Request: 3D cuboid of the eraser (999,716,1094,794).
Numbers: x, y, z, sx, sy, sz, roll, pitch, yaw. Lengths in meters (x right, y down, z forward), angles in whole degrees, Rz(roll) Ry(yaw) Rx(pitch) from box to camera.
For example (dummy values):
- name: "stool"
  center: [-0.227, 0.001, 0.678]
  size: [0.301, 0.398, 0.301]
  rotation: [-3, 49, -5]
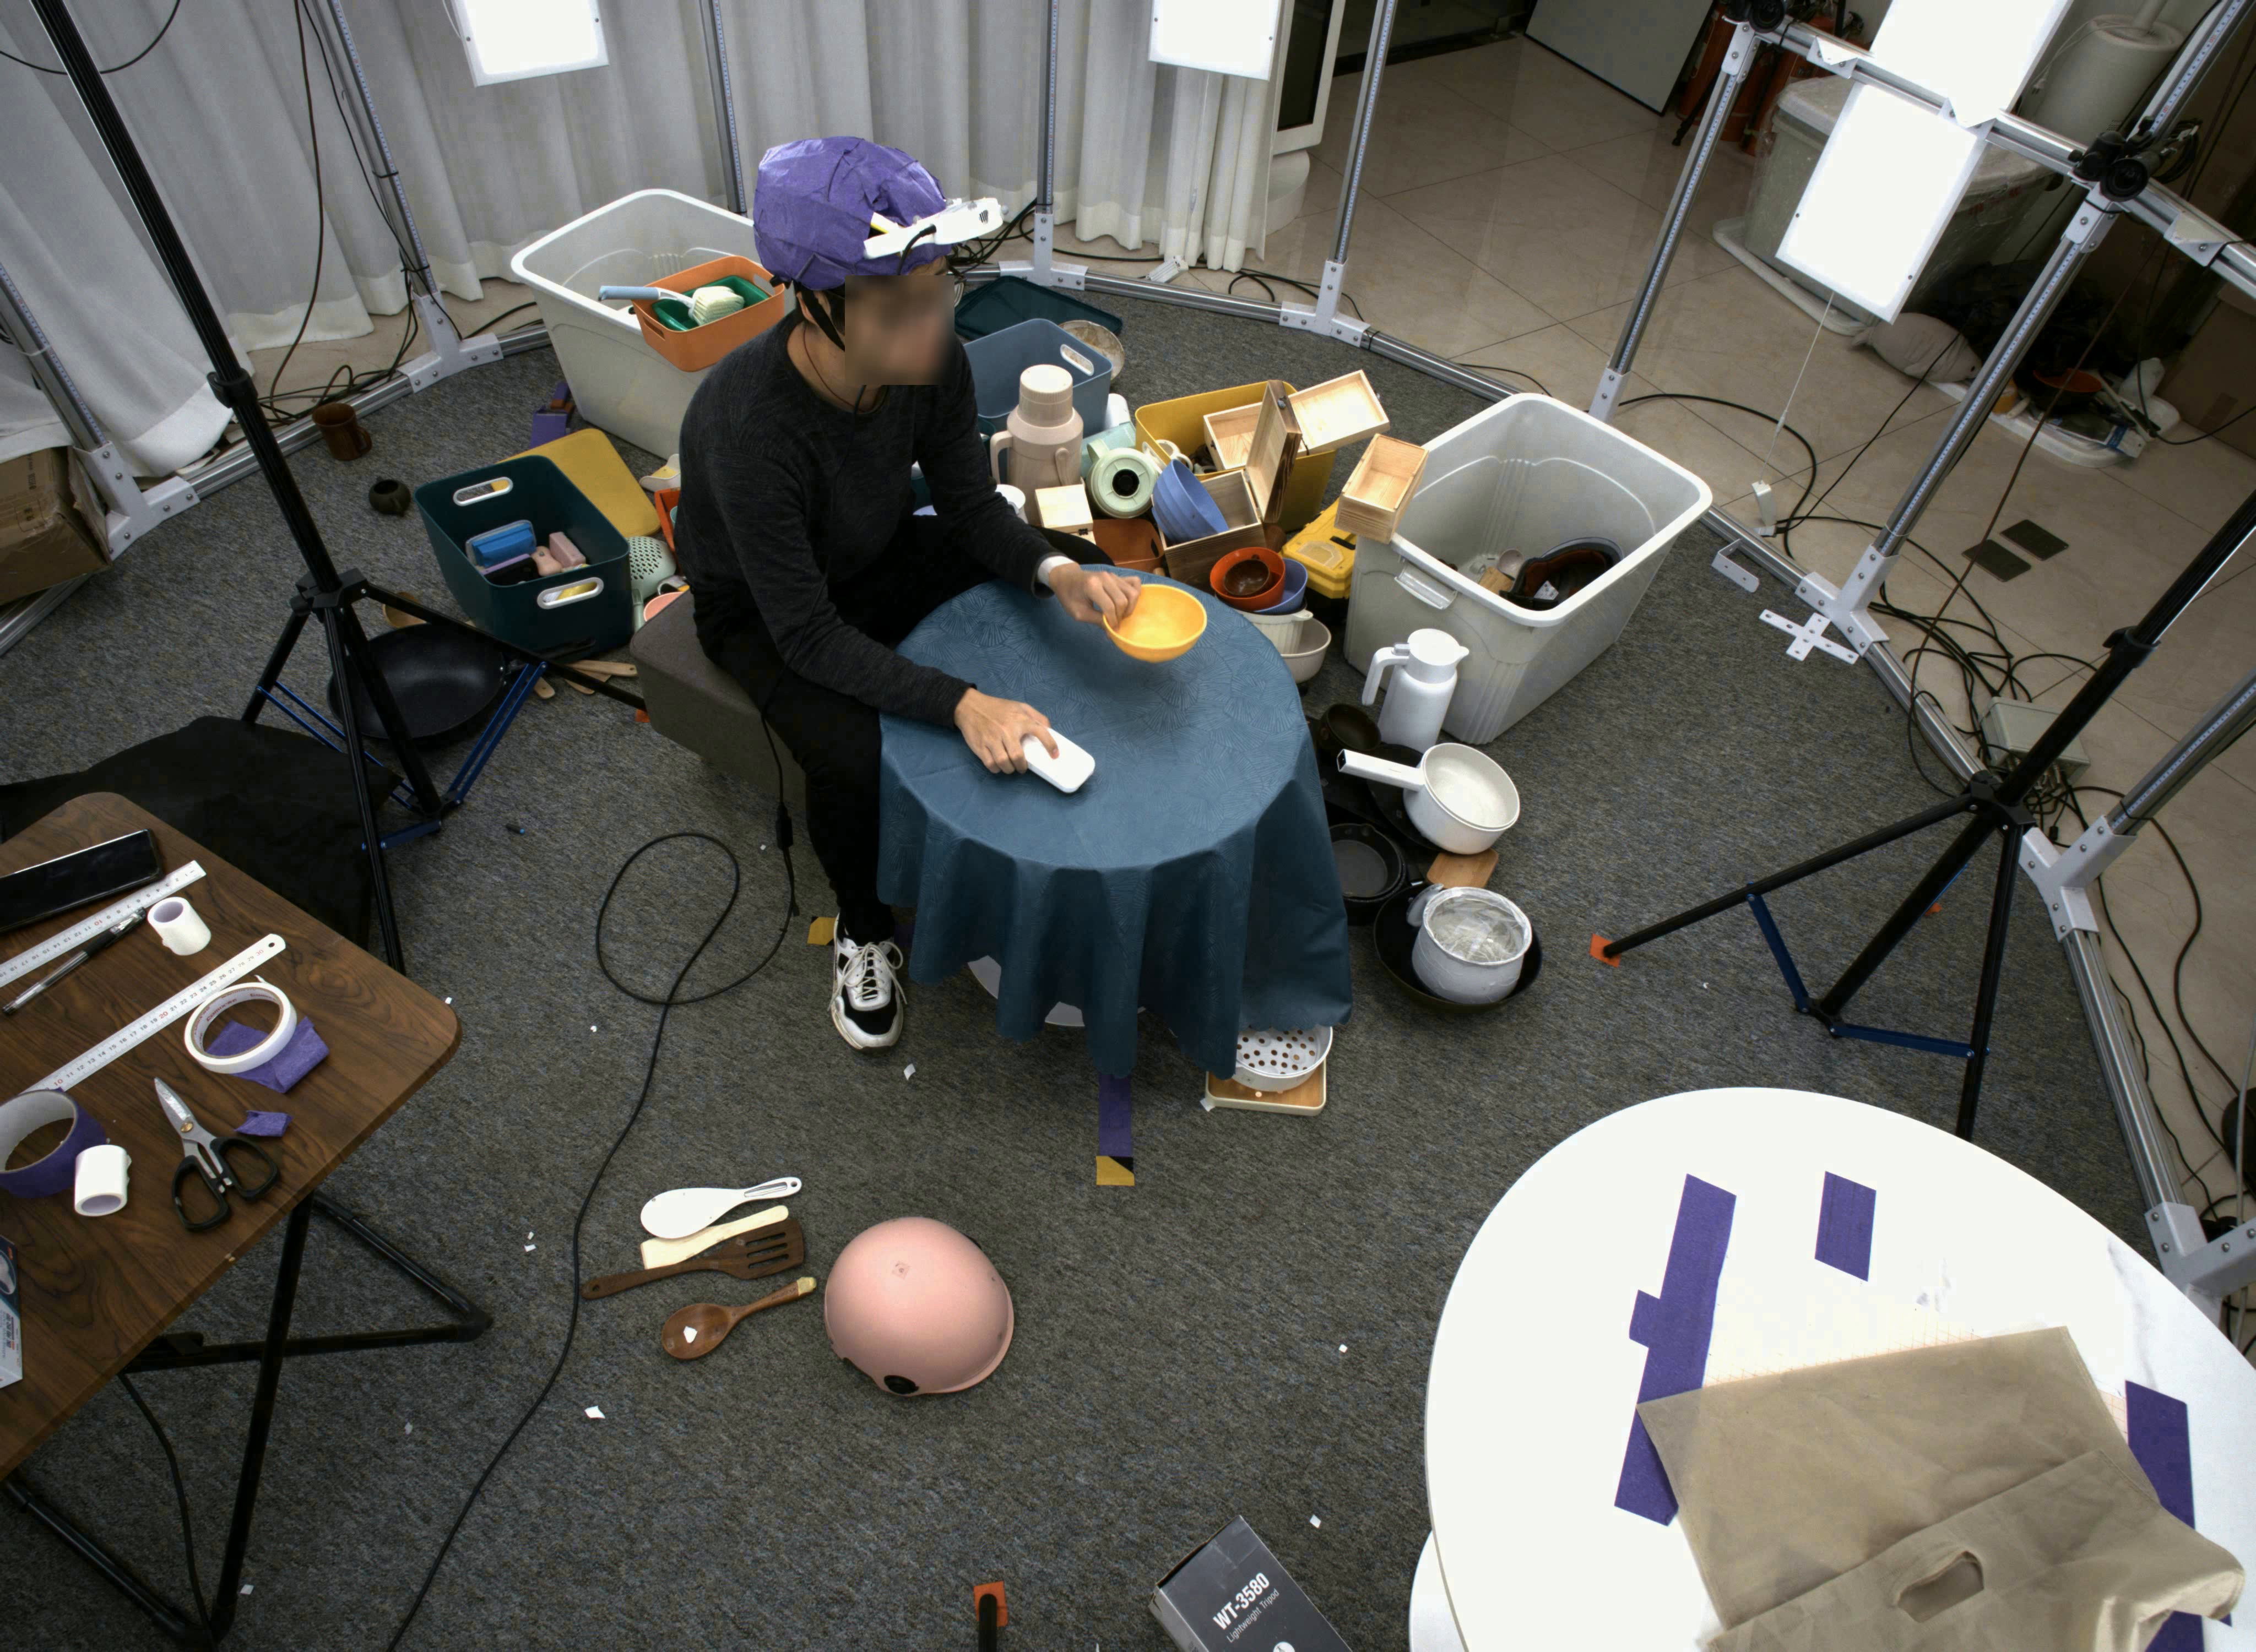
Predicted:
- name: "eraser"
  center: [-0.109, -0.098, 1.716]
  size: [0.133, 0.034, 0.064]
  rotation: [35, 61, 20]

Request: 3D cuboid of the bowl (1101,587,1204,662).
- name: "bowl"
  center: [0.034, -0.273, 1.806]
  size: [0.145, 0.058, 0.149]
  rotation: [1, 42, -1]
